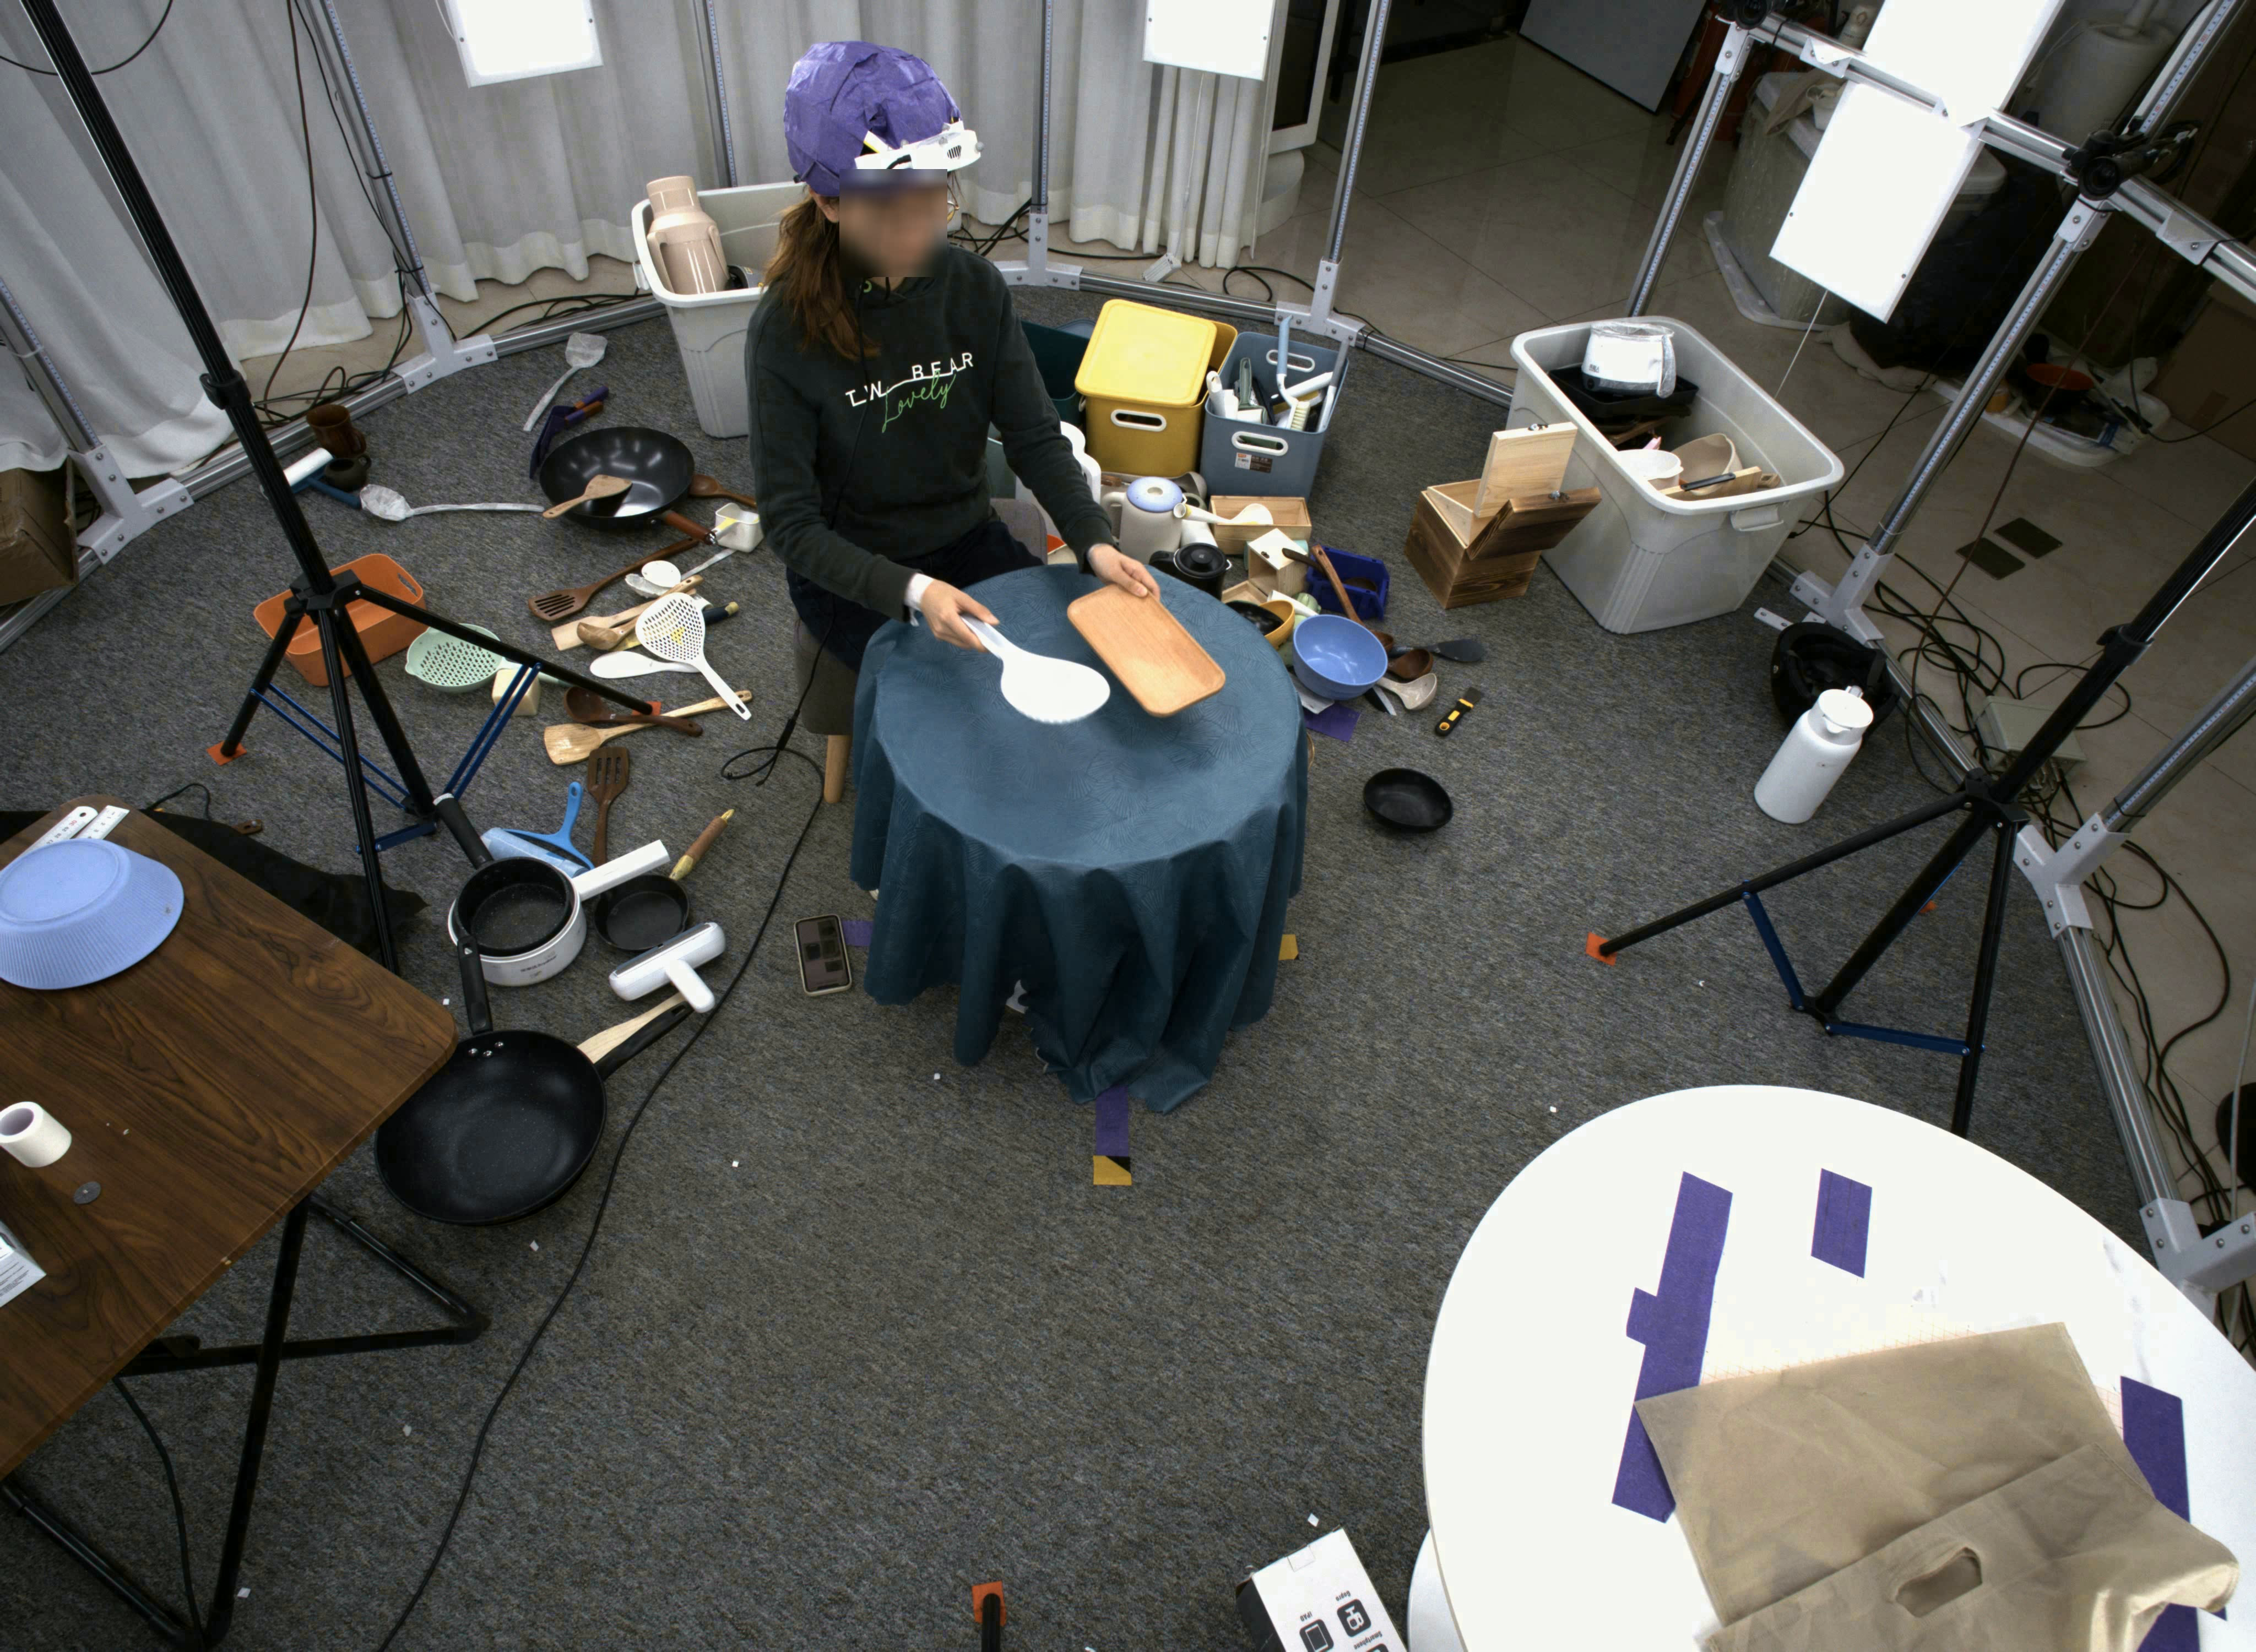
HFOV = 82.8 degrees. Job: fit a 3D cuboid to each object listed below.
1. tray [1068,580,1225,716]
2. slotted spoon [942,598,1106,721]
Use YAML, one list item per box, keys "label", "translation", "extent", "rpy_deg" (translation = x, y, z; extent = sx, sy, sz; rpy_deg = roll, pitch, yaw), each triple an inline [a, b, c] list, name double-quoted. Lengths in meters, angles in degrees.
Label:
- label: "tray"
  translation: [0.024, -0.252, 1.801]
  extent: [0.131, 0.022, 0.256]
  rpy_deg: [-25, 55, -20]
- label: "slotted spoon"
  translation: [-0.157, -0.229, 1.720]
  extent: [0.136, 0.045, 0.357]
  rpy_deg: [-18, 45, -29]
